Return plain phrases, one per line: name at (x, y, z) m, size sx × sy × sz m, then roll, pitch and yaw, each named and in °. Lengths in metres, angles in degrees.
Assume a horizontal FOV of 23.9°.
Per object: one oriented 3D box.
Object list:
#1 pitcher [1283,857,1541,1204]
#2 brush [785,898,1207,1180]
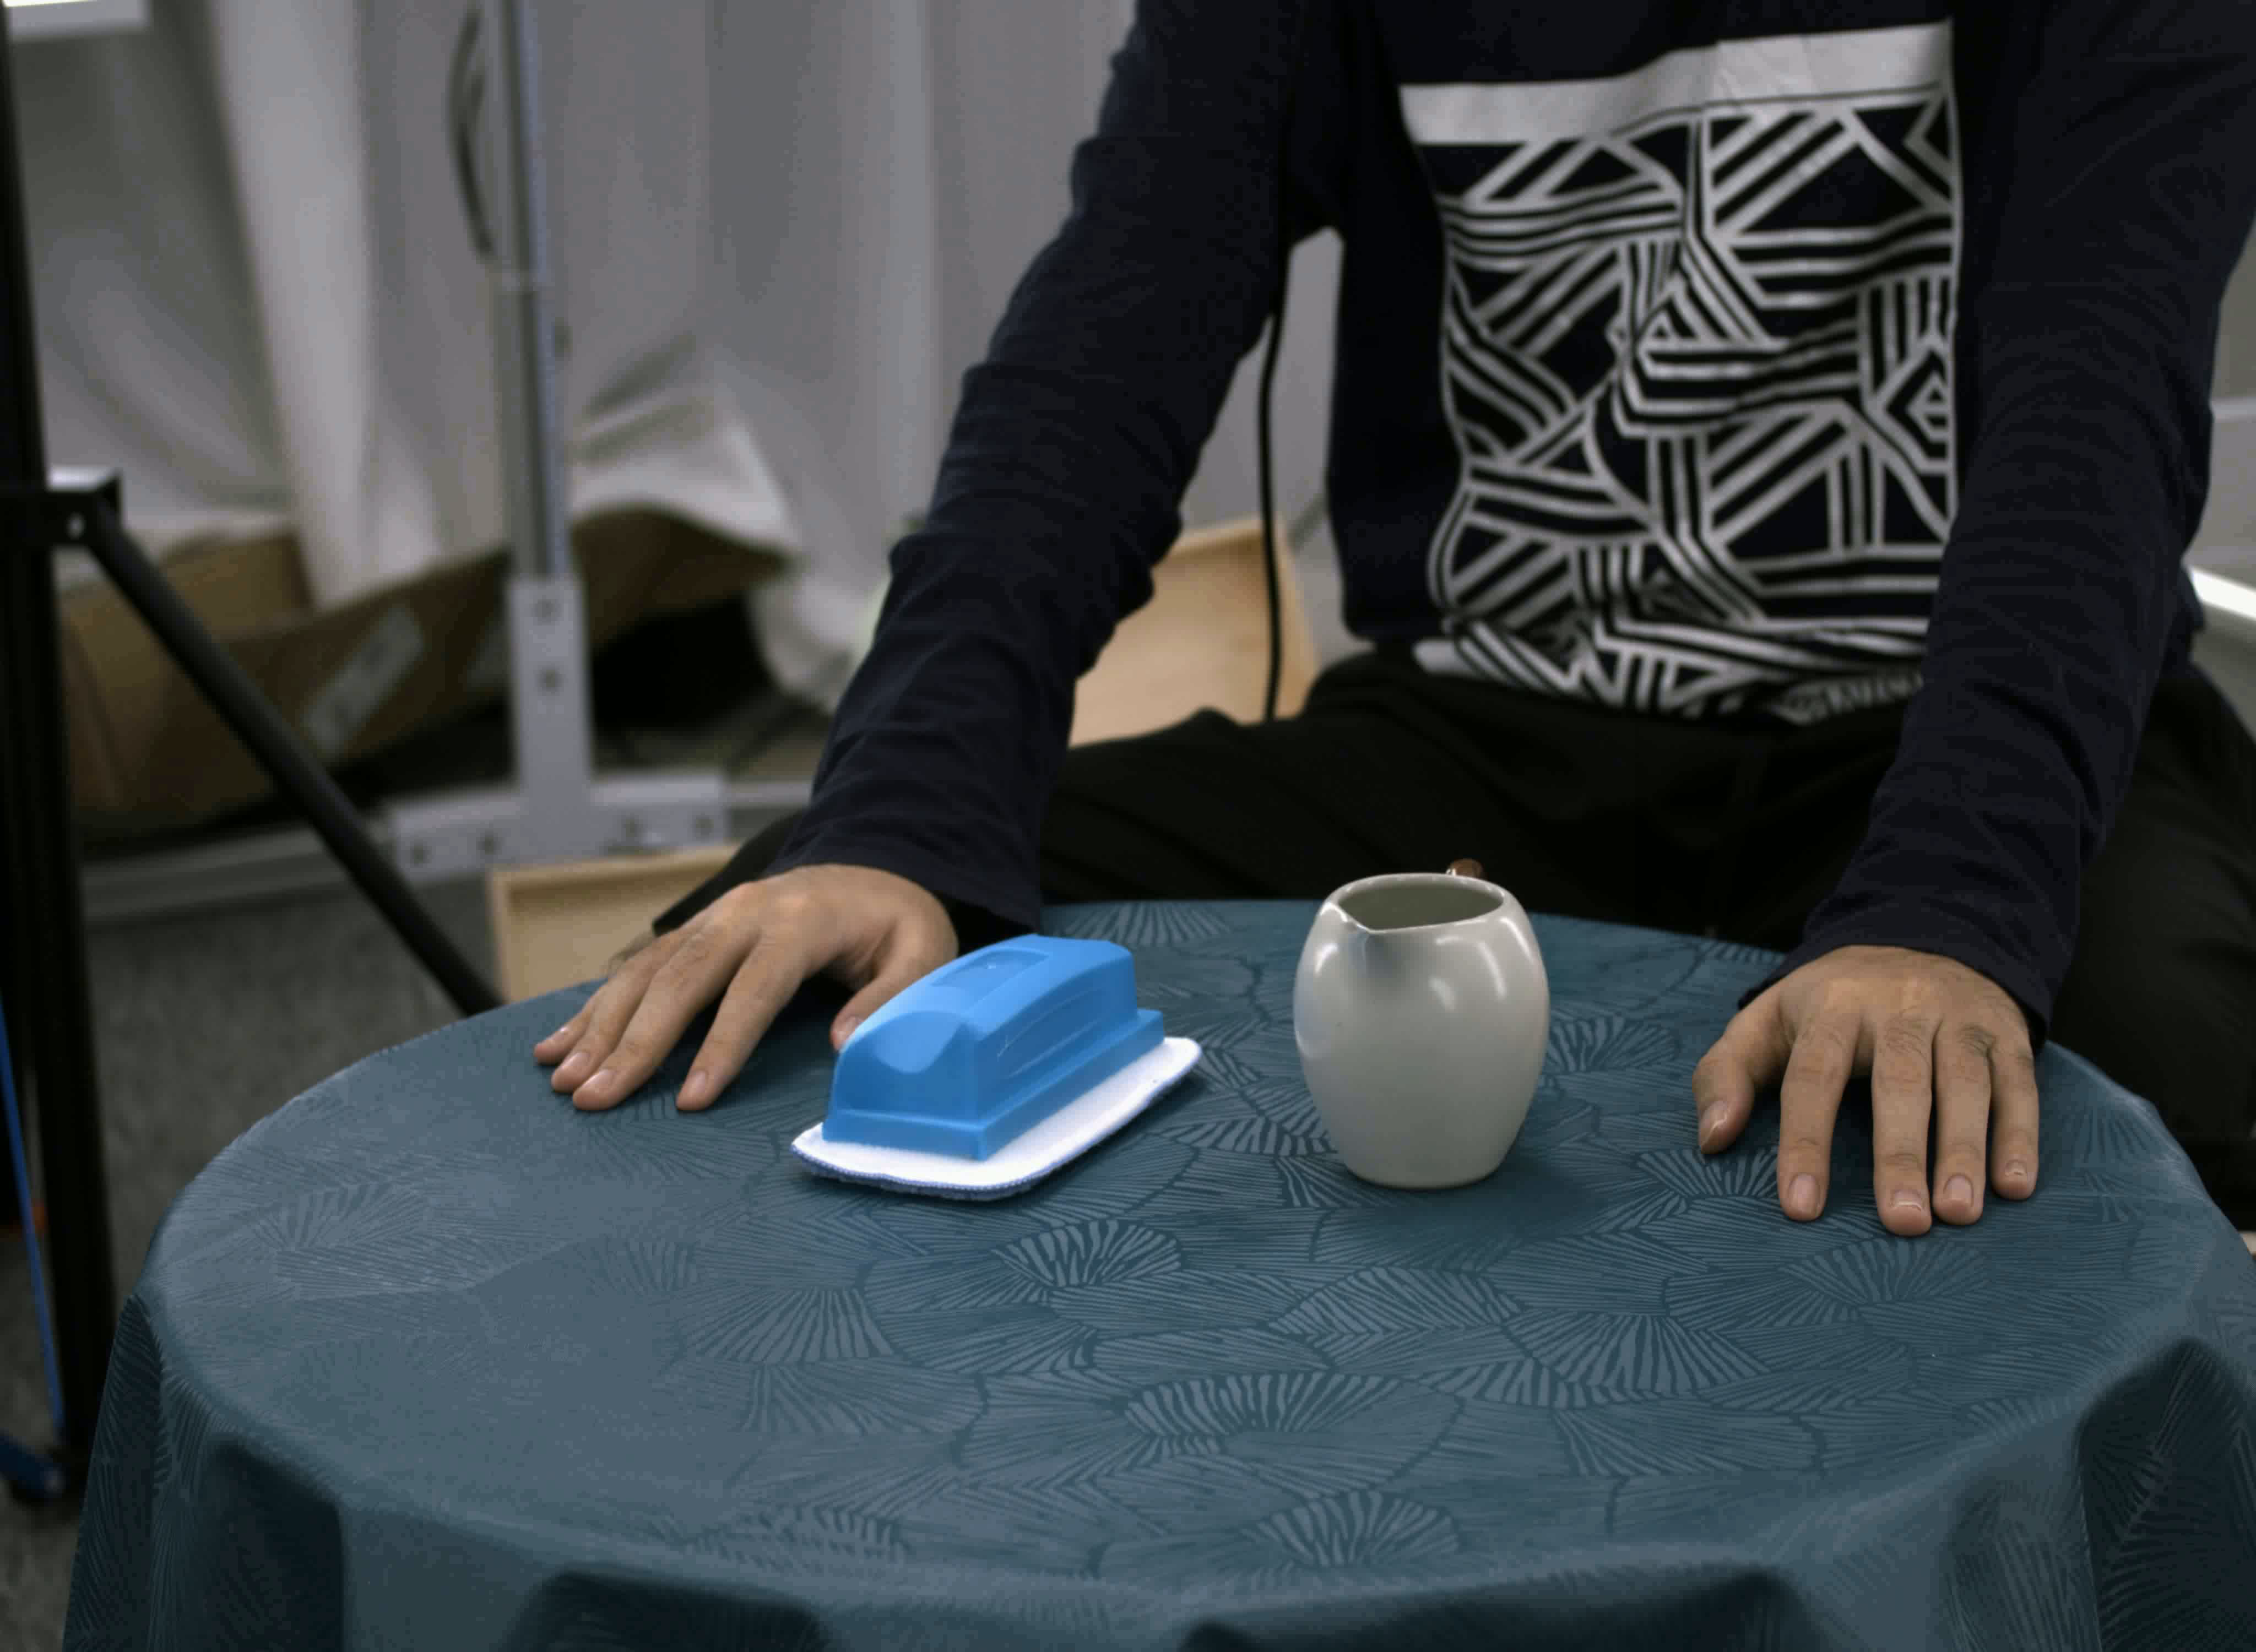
pitcher at (0.086, 0.059, 1.558) m, size 0.077 × 0.088 × 0.117 m, roll 10°, pitch 23°, yaw 22°
brush at (-0.038, 0.061, 1.623) m, size 0.085 × 0.056 × 0.141 m, roll 10°, pitch 22°, yaw 29°
